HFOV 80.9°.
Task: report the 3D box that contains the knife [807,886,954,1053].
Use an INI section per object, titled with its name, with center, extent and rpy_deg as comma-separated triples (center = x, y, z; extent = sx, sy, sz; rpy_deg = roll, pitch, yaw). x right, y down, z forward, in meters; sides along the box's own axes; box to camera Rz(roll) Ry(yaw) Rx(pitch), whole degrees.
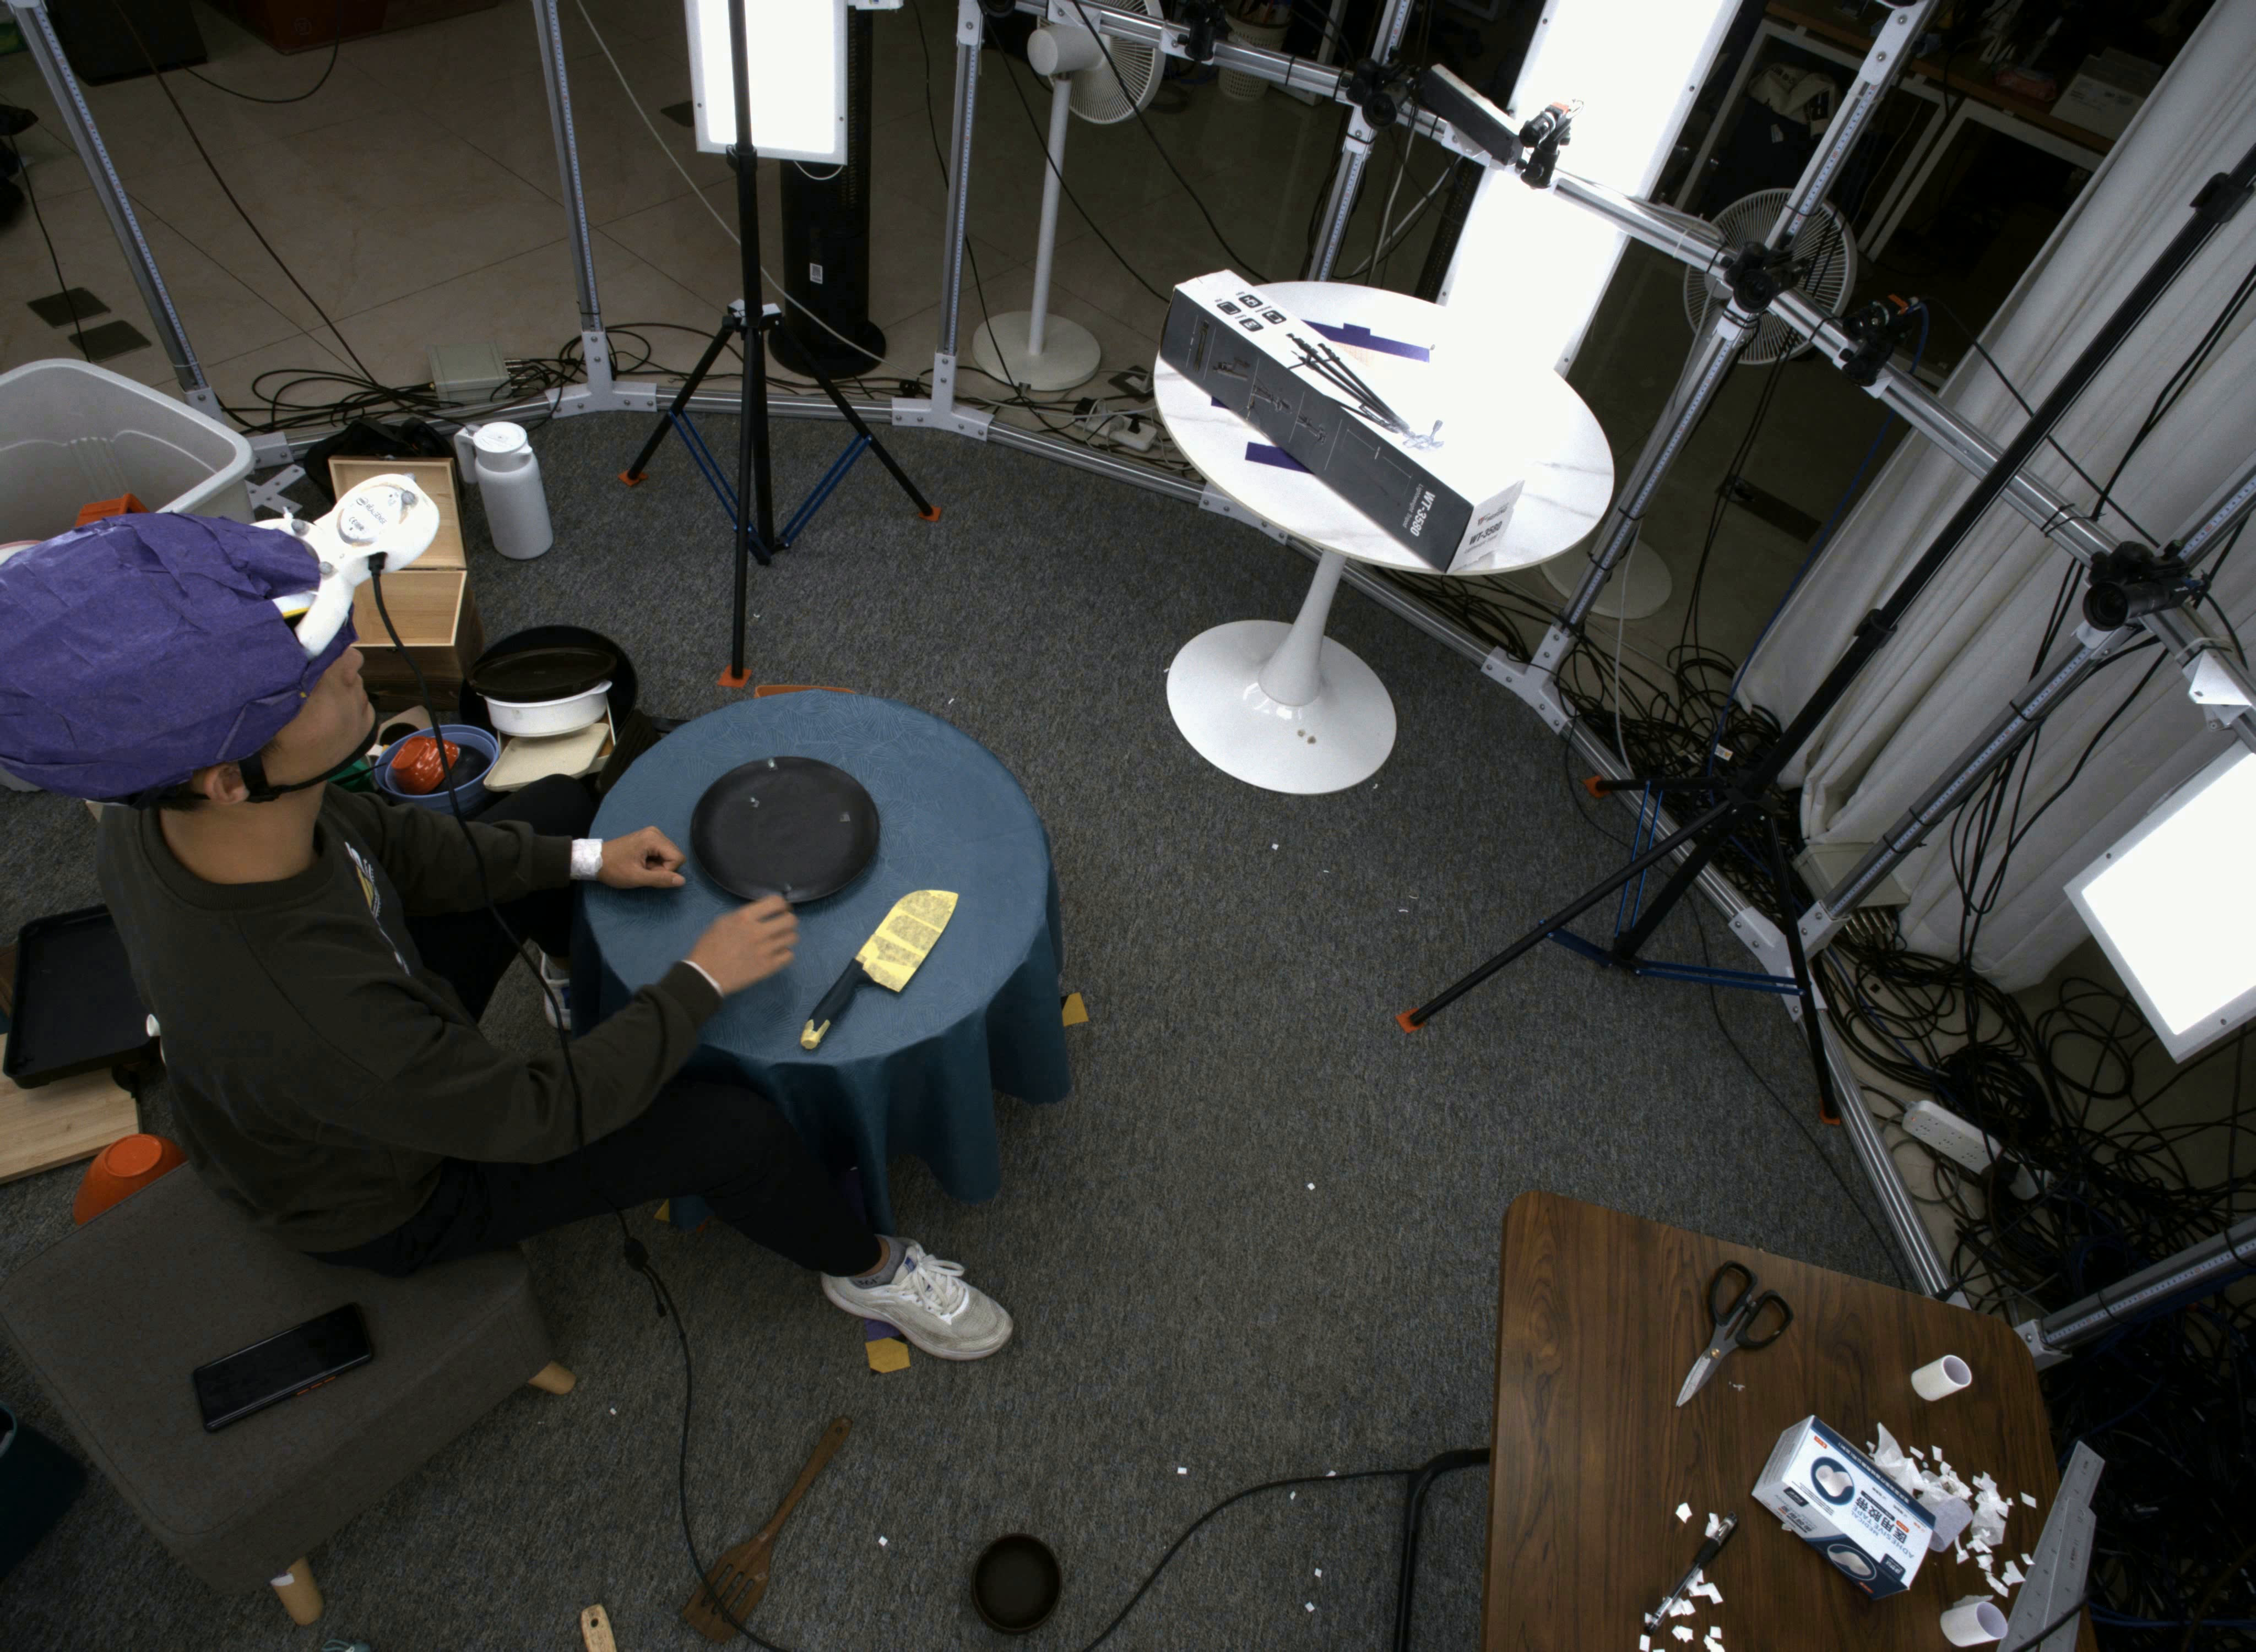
[knife]
center = -0.305, 0.173, 1.628
extent = 0.079, 0.028, 0.288
rpy_deg = 27, 51, 9

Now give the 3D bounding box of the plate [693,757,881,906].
[plate]
center = -0.448, 0.007, 1.709
extent = 0.244, 0.024, 0.240
rpy_deg = 8, 53, -9
